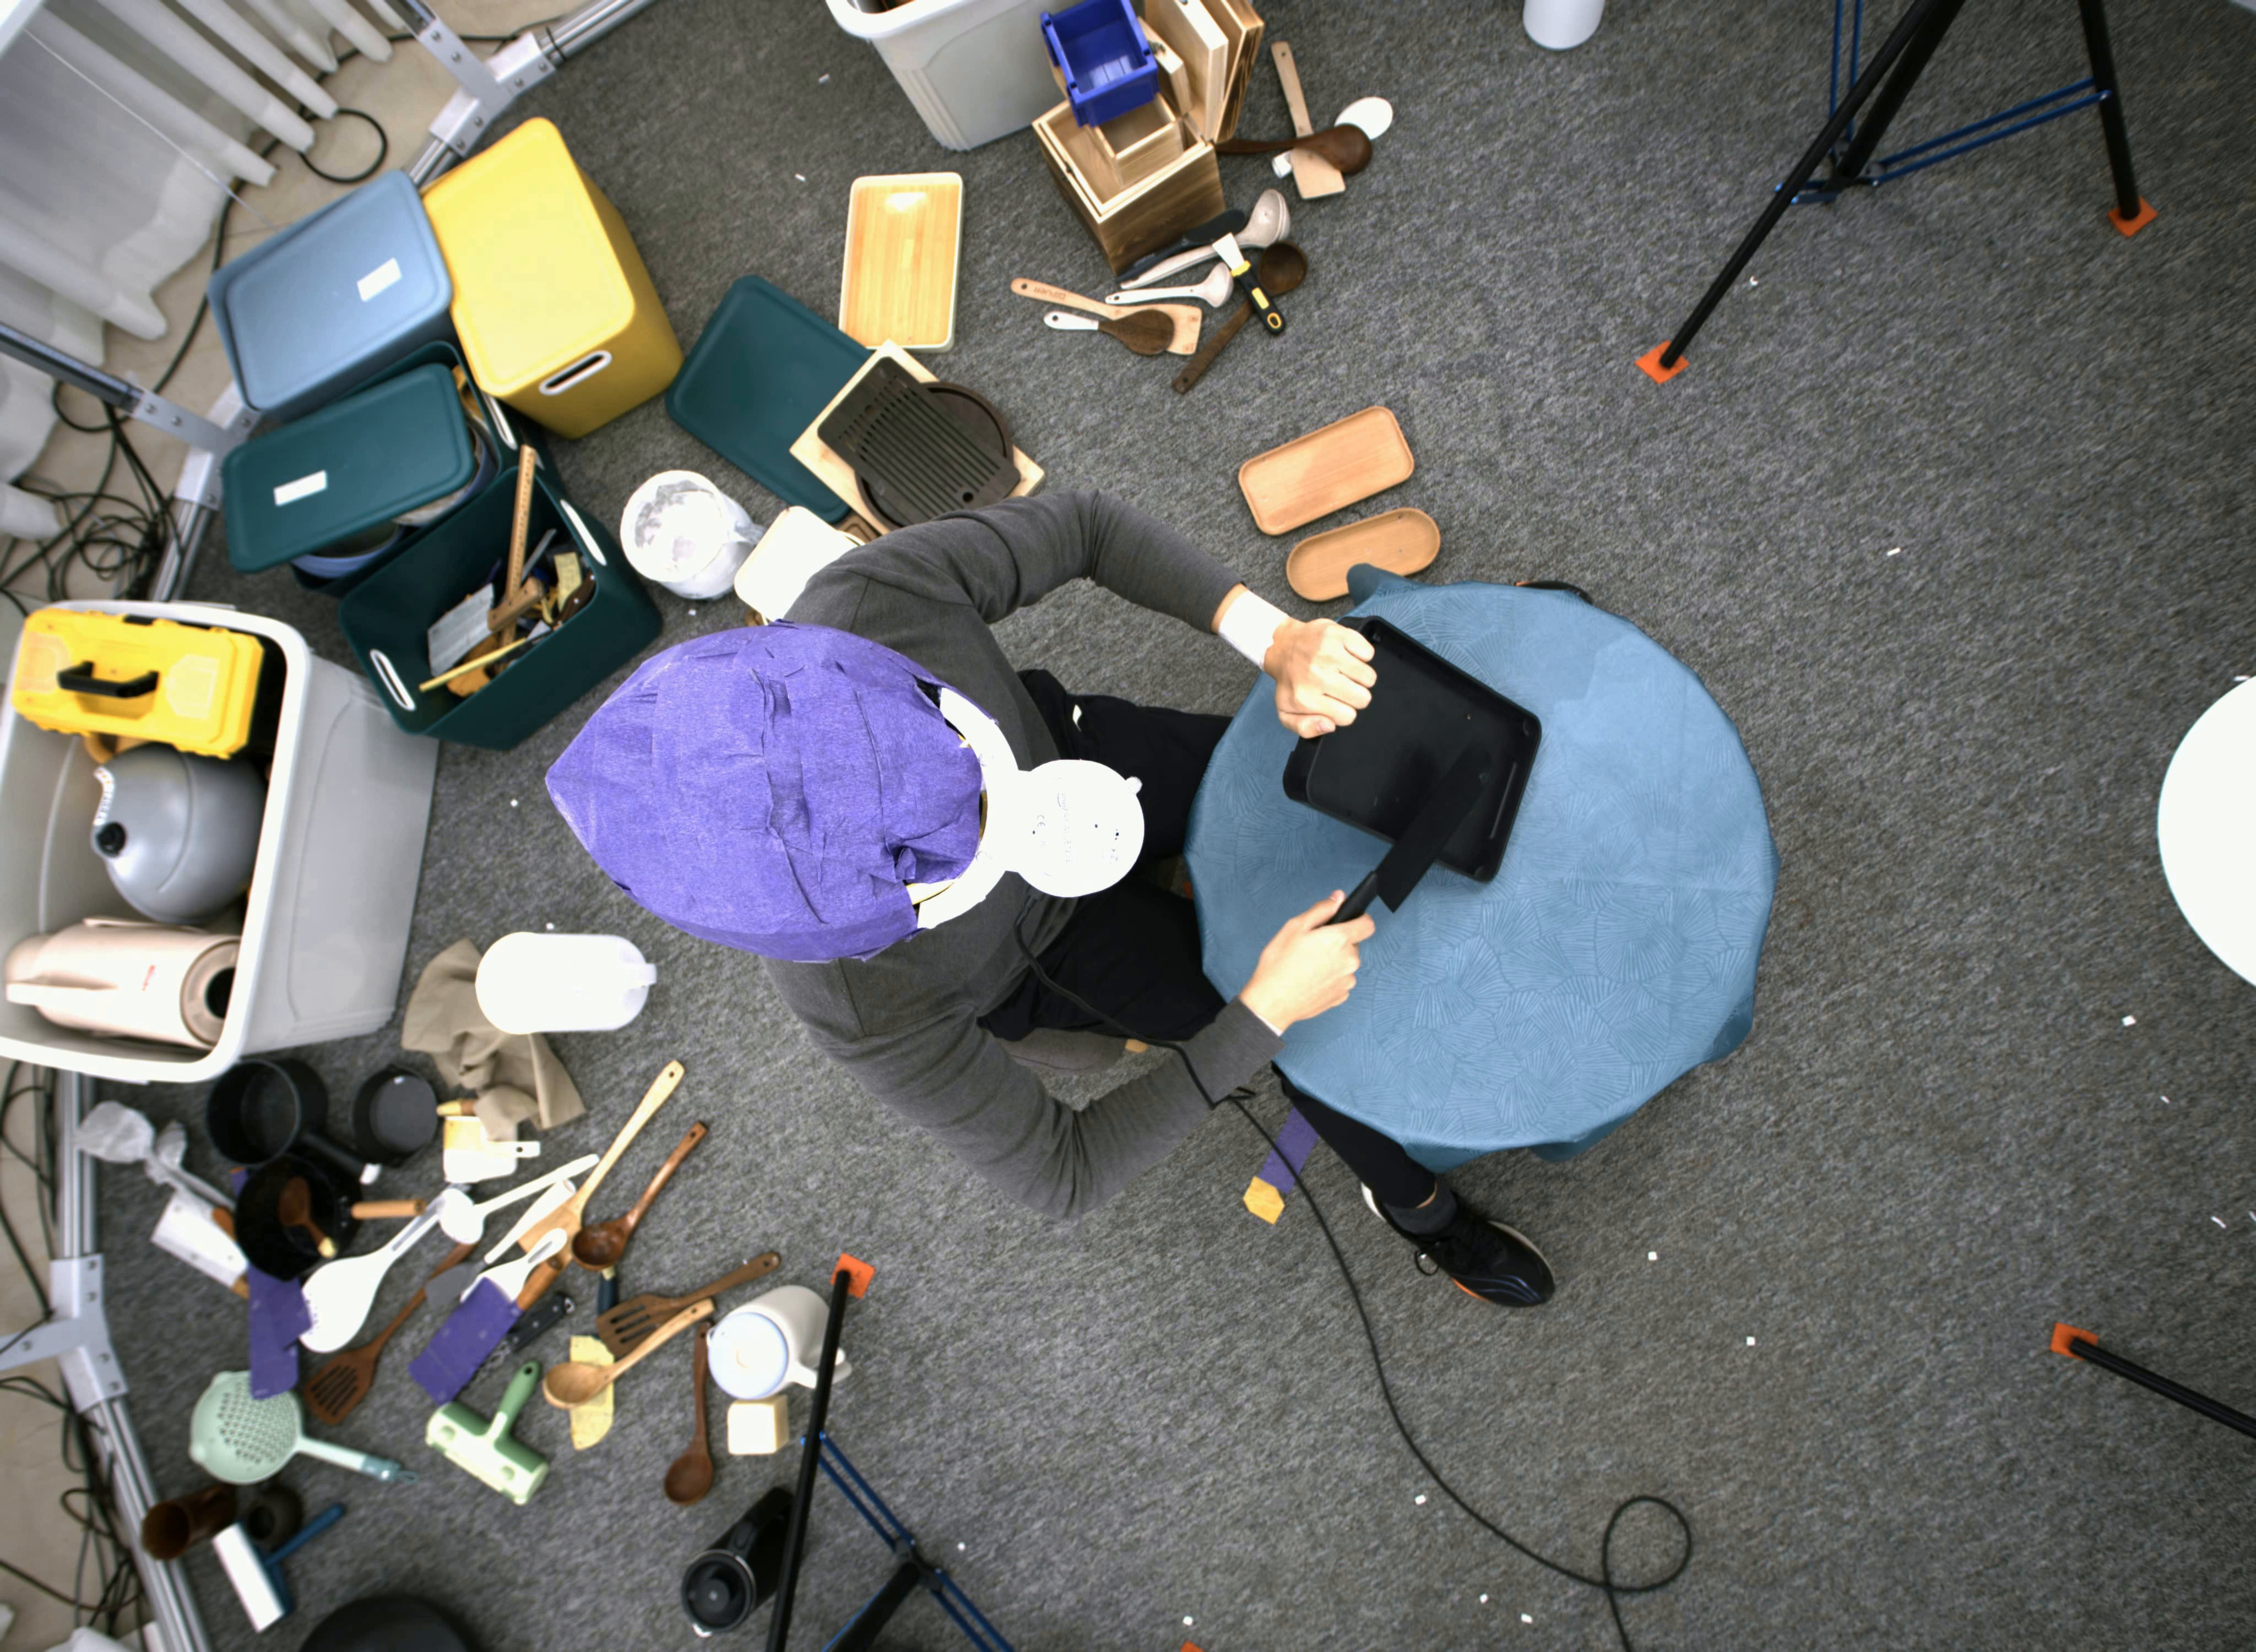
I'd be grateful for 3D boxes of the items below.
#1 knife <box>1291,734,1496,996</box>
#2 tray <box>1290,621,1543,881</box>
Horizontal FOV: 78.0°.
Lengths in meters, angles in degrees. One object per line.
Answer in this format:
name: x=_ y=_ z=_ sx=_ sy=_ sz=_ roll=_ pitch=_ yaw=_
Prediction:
knife: x=0.255 y=0.040 z=1.319 sx=0.300 sy=0.082 sz=0.020 roll=-49 pitch=41 yaw=-8
tray: x=0.288 y=-0.067 z=1.332 sx=0.037 sy=0.318 sz=0.184 roll=18 pitch=90 yaw=48
